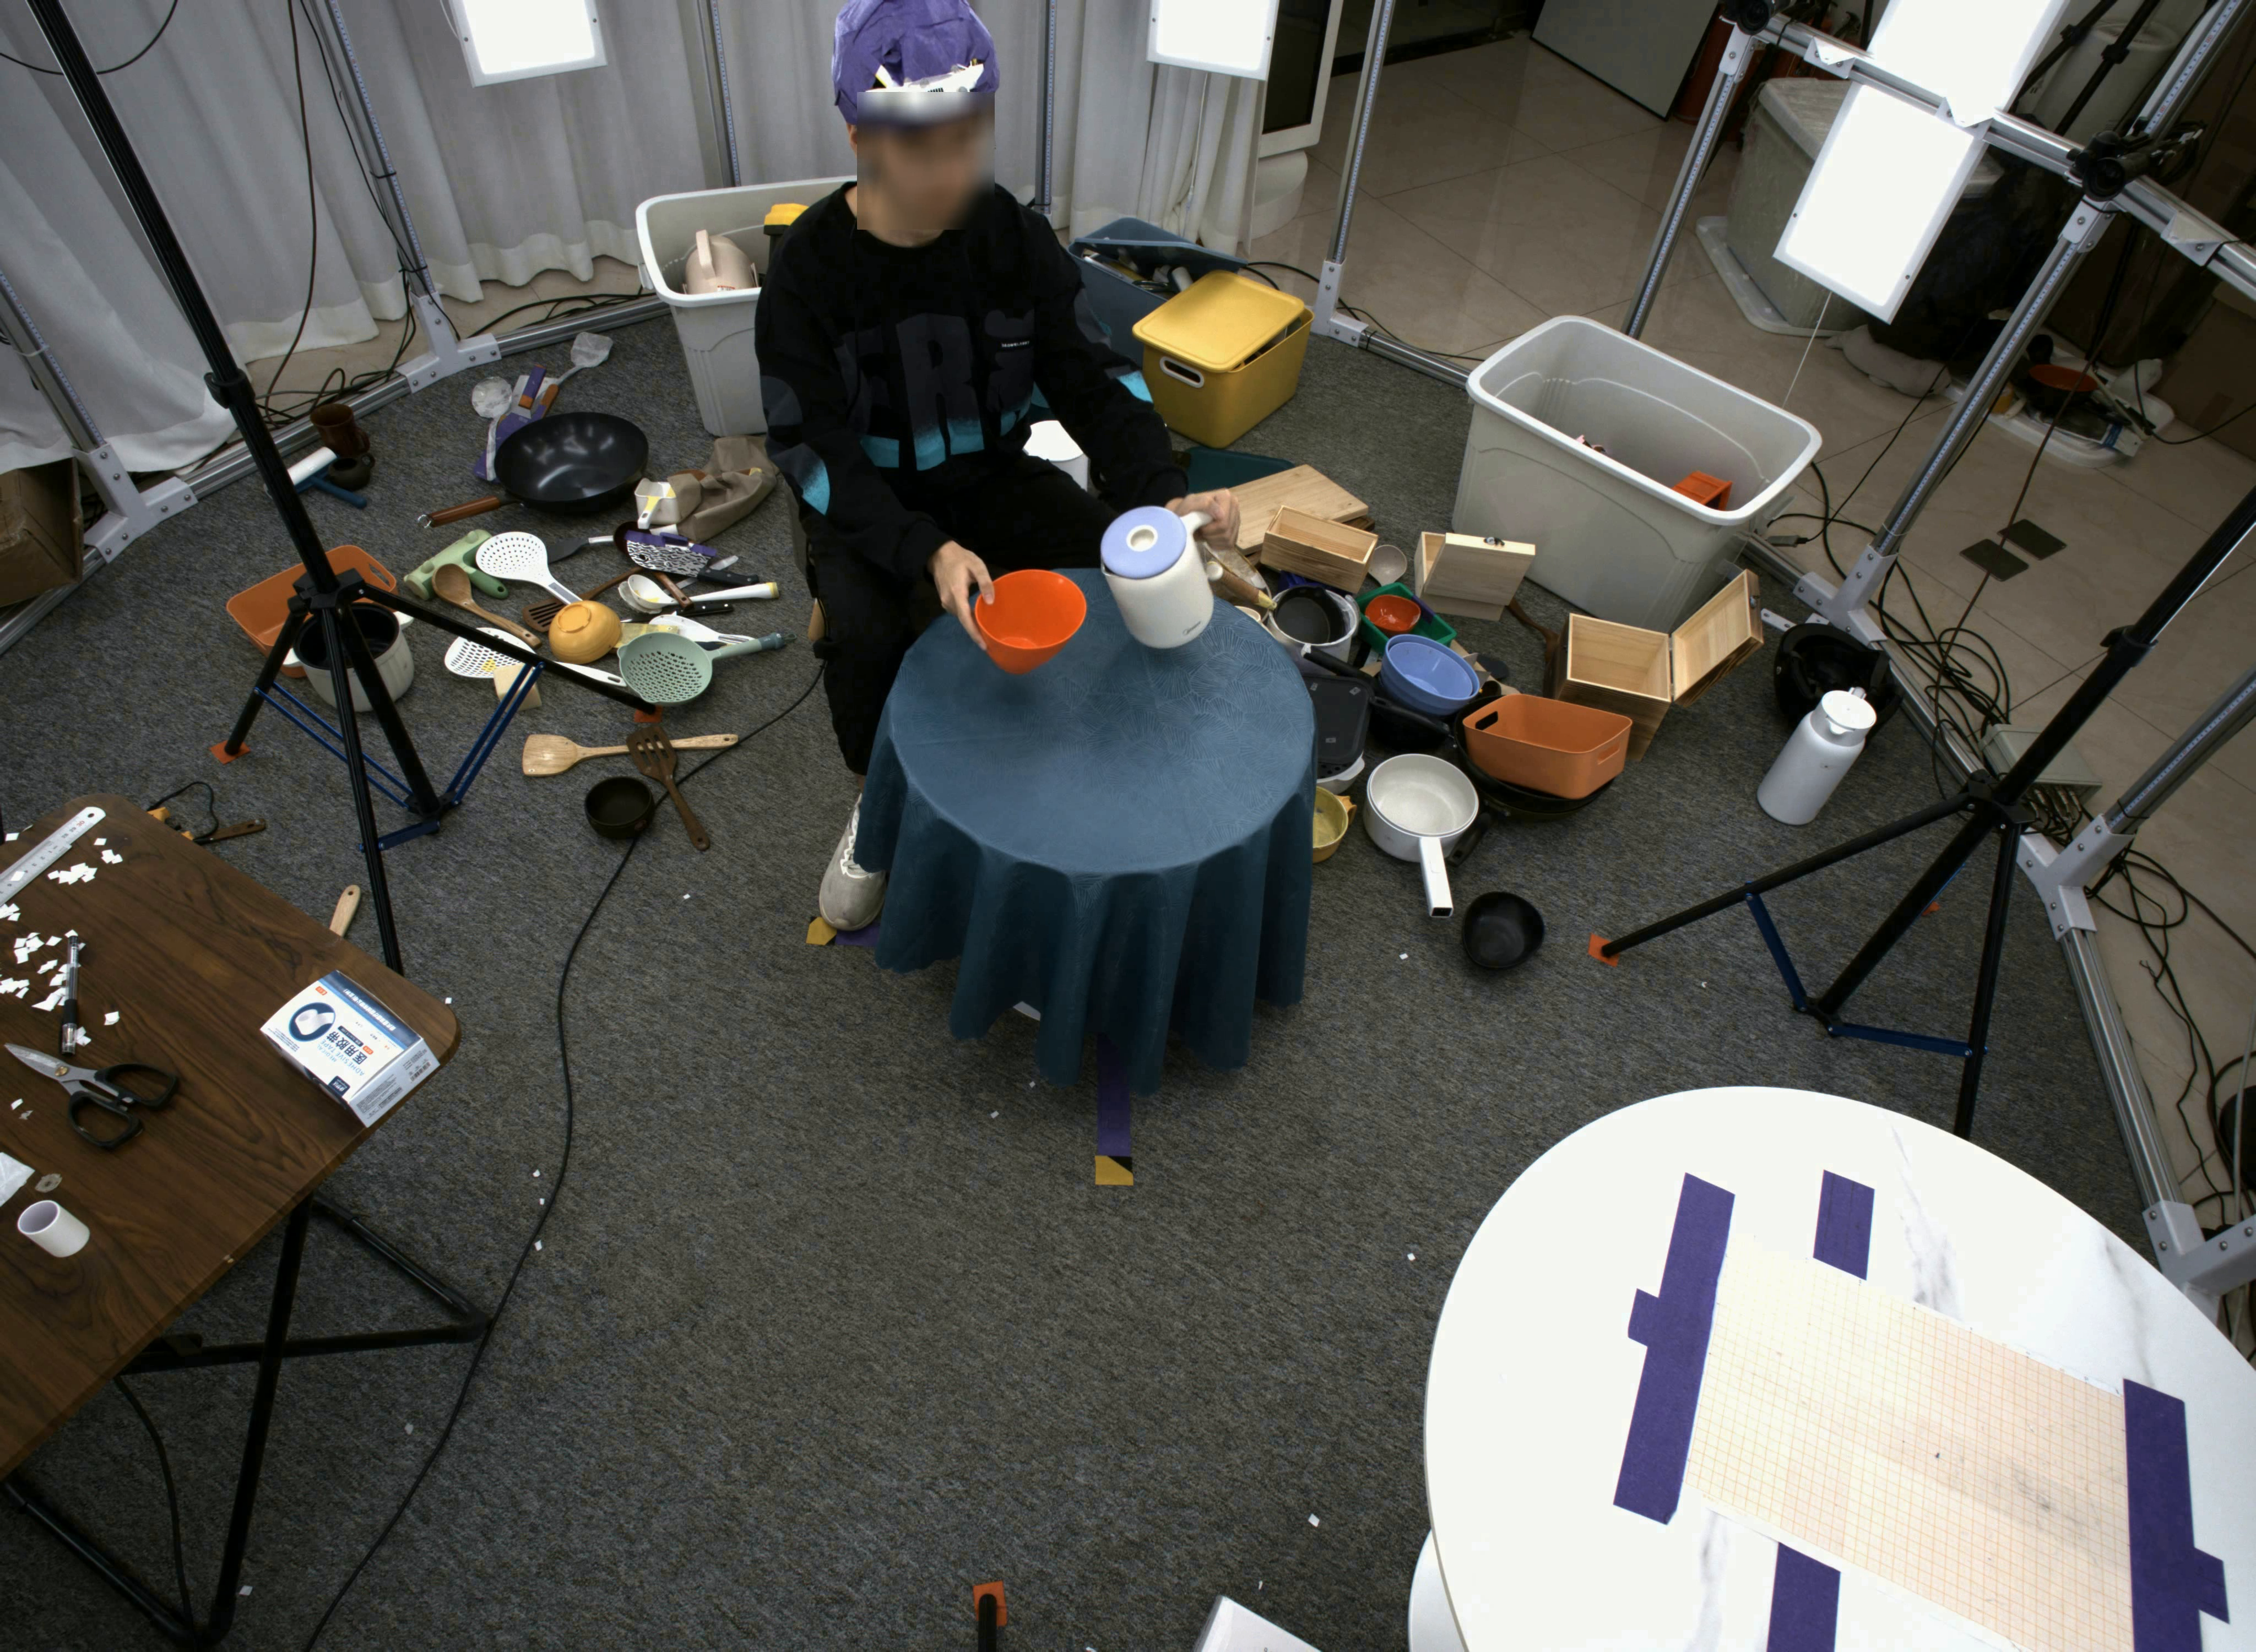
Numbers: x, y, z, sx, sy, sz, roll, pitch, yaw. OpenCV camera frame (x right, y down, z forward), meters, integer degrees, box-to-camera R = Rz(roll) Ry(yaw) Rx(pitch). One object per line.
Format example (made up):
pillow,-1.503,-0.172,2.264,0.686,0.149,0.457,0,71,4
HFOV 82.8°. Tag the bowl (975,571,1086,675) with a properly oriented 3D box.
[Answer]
bowl,-0.137,-0.267,1.758,0.147,0.102,0.152,6,50,-8

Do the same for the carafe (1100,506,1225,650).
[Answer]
carafe,0.057,-0.358,1.791,0.192,0.178,0.135,-36,61,-9
